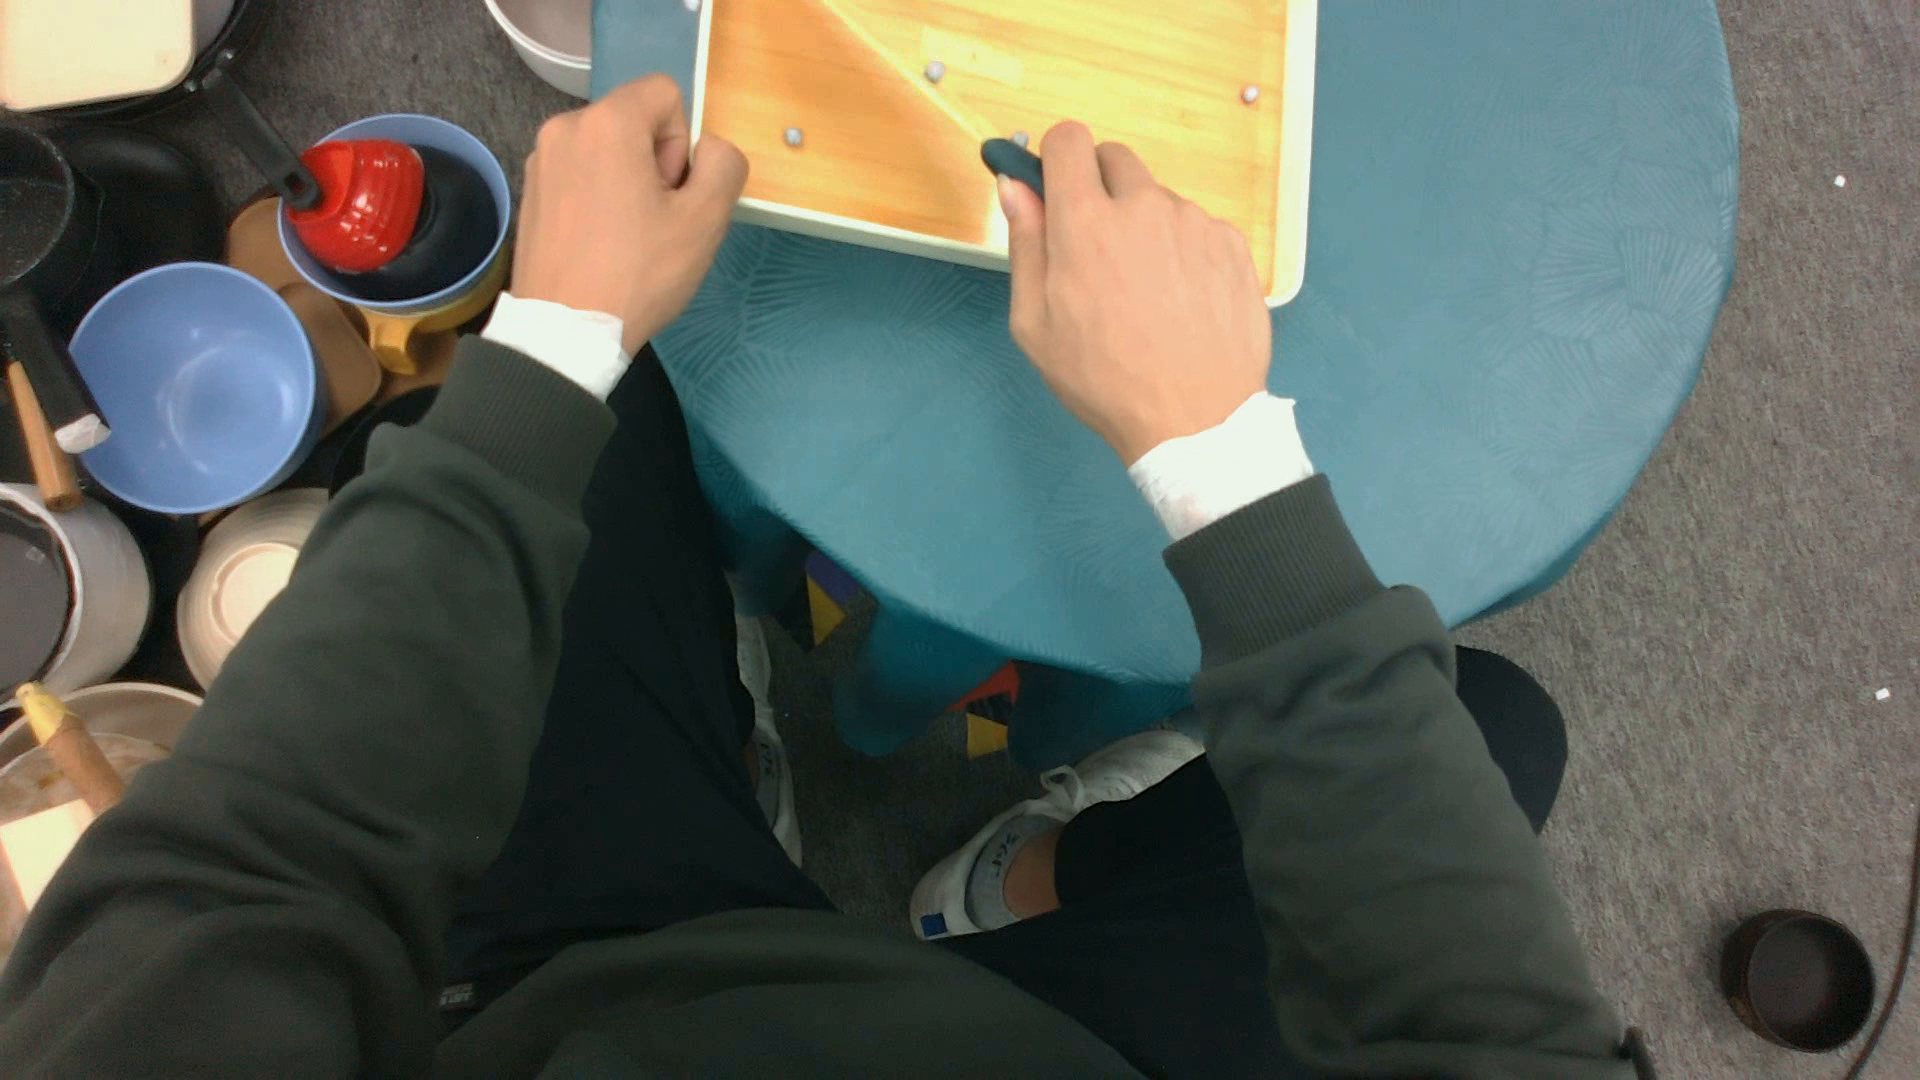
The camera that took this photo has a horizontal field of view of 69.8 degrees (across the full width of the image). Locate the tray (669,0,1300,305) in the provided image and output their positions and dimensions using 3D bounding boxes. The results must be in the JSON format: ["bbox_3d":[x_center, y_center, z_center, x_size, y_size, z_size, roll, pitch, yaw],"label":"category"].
[{"bbox_3d":[0.022,-0.227,0.652,0.300,0.027,0.192,7,83,-19],"label":"tray"}]

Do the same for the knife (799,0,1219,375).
[{"bbox_3d":[0.000,-0.174,0.580,0.289,0.081,0.027,44,112,5],"label":"knife"}]
